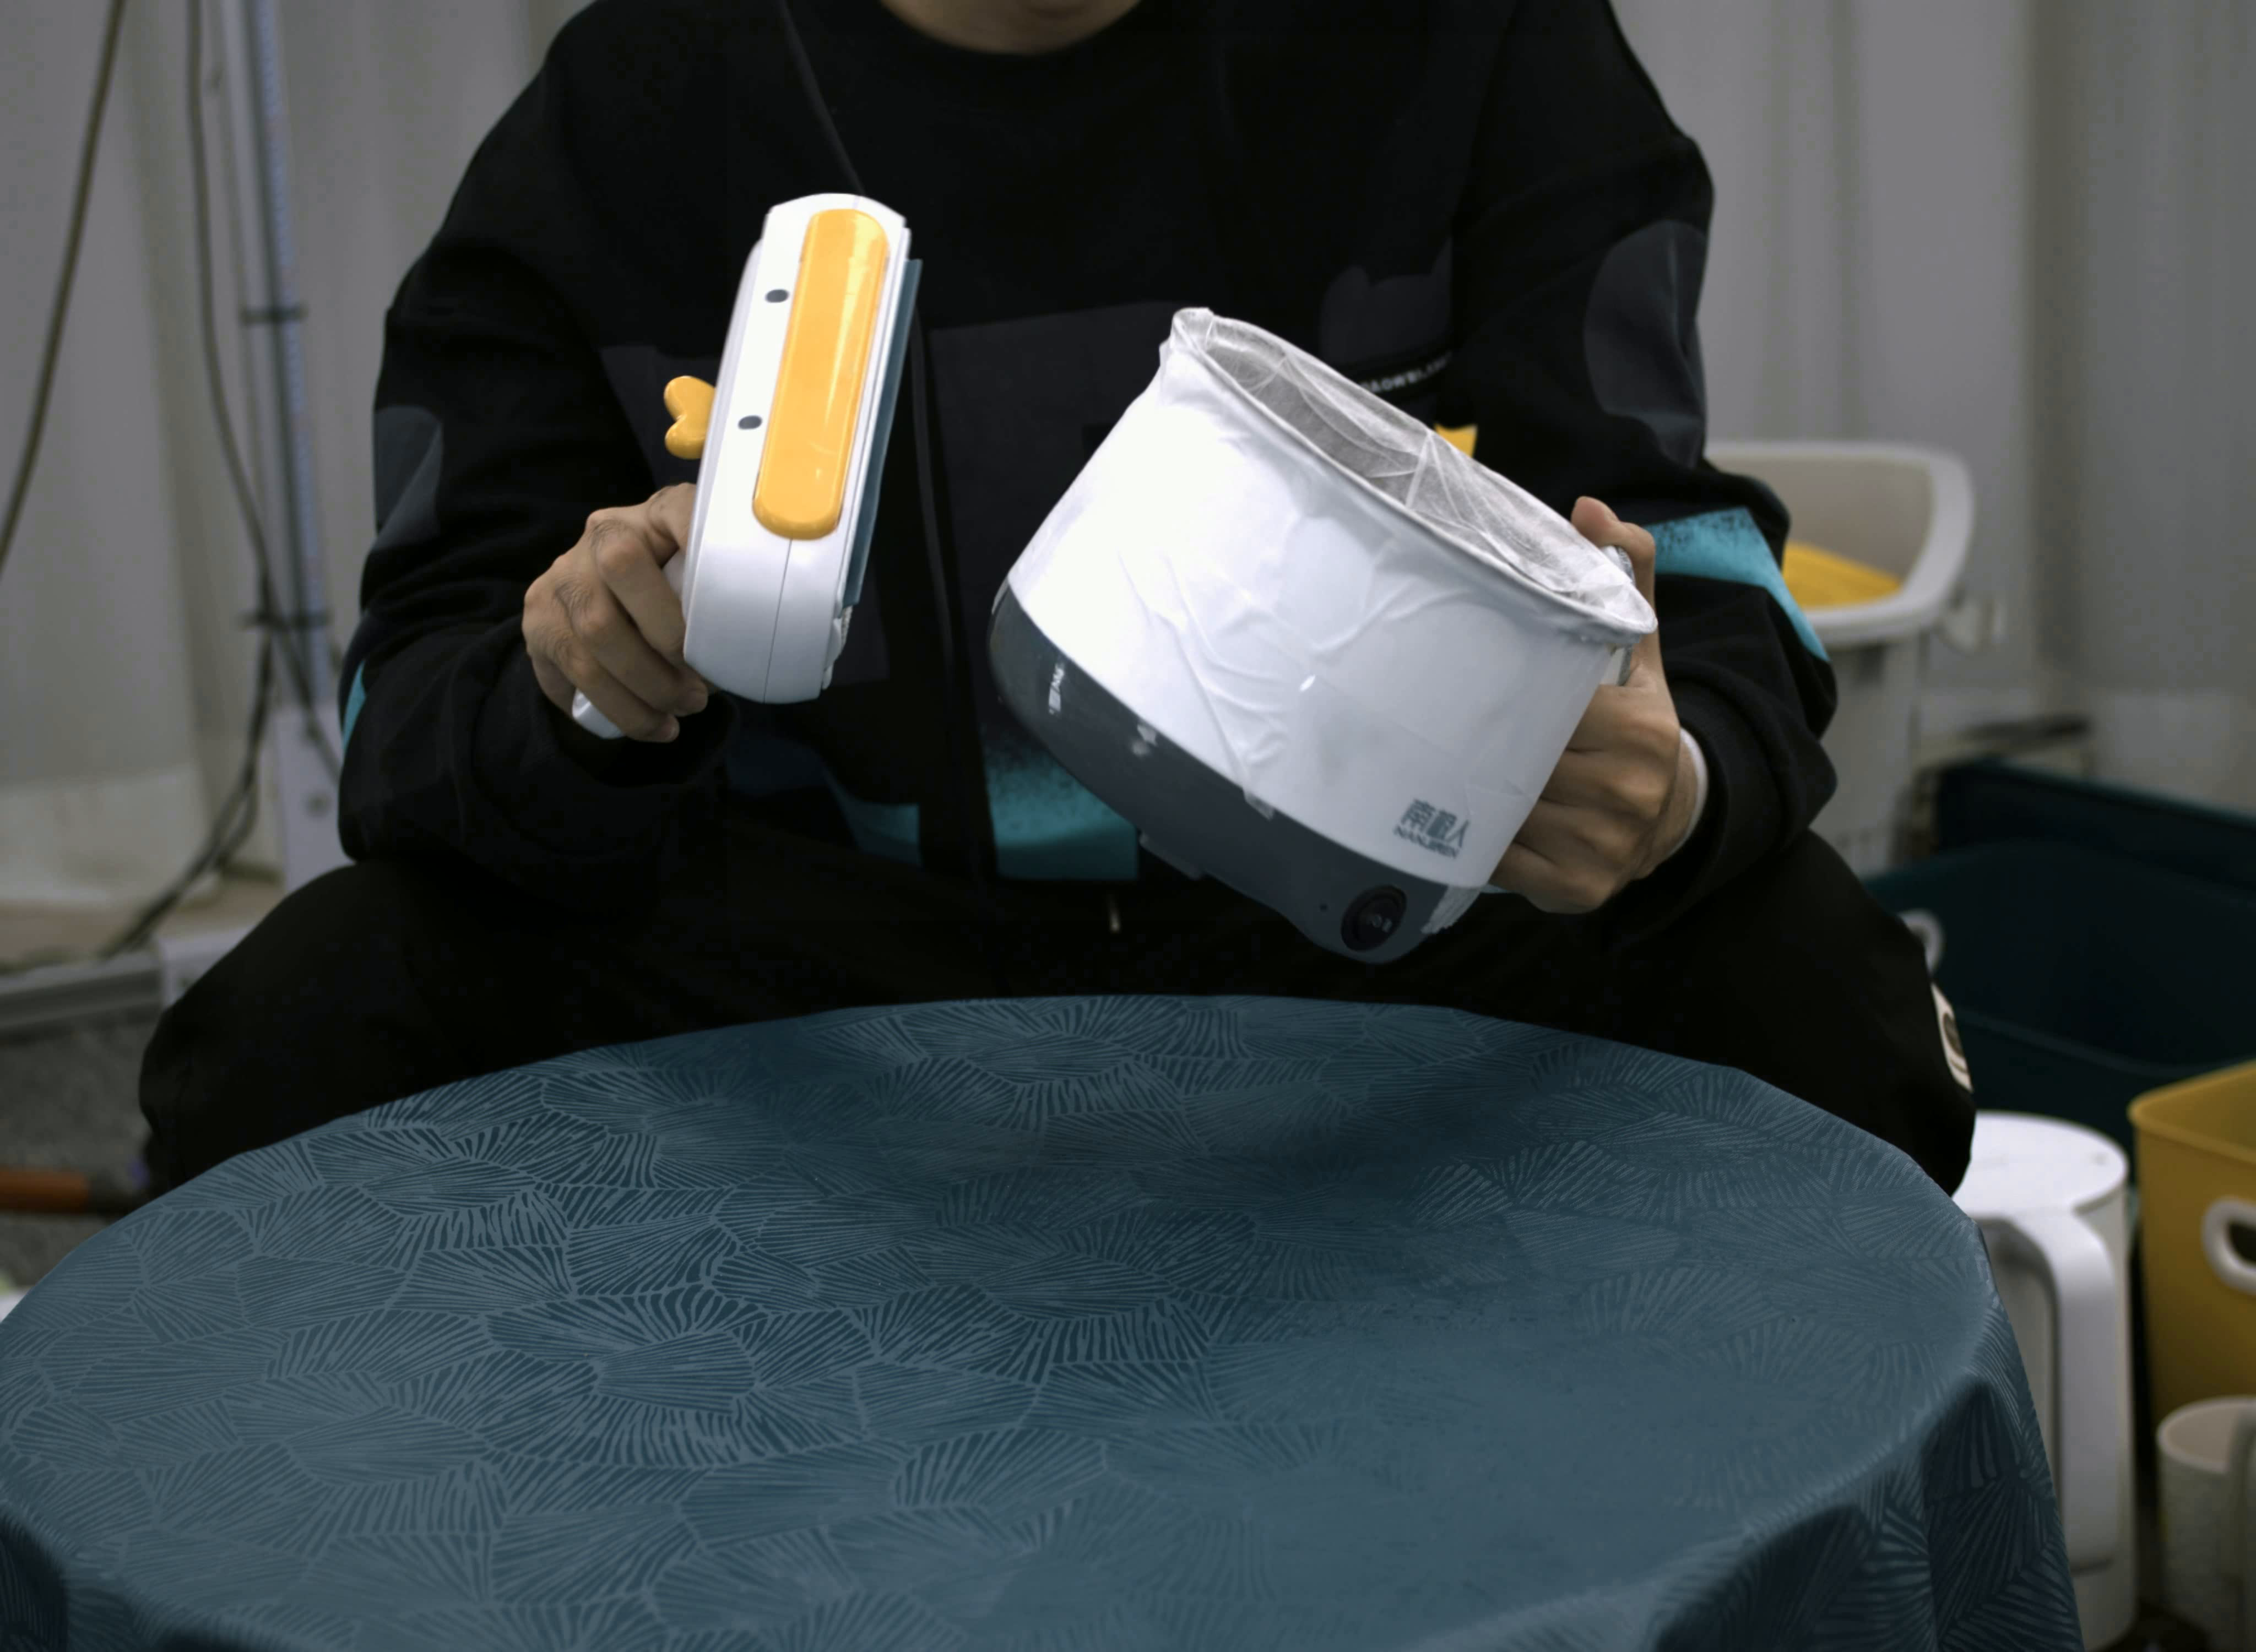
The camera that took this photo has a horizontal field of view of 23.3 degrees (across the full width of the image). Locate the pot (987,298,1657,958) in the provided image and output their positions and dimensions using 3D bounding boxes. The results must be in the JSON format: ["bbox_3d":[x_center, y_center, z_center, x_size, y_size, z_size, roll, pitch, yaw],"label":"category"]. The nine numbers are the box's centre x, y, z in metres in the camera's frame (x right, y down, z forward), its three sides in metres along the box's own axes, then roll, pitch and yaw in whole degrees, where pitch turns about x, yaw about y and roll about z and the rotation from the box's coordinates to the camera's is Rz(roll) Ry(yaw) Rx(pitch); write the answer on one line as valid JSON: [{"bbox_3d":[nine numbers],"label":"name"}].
[{"bbox_3d":[0.074,-0.054,1.712,0.231,0.136,0.181,19,20,-44],"label":"pot"}]

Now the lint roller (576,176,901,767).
[{"bbox_3d":[-0.129,-0.090,1.776,0.074,0.190,0.196,12,45,-13],"label":"lint roller"}]
